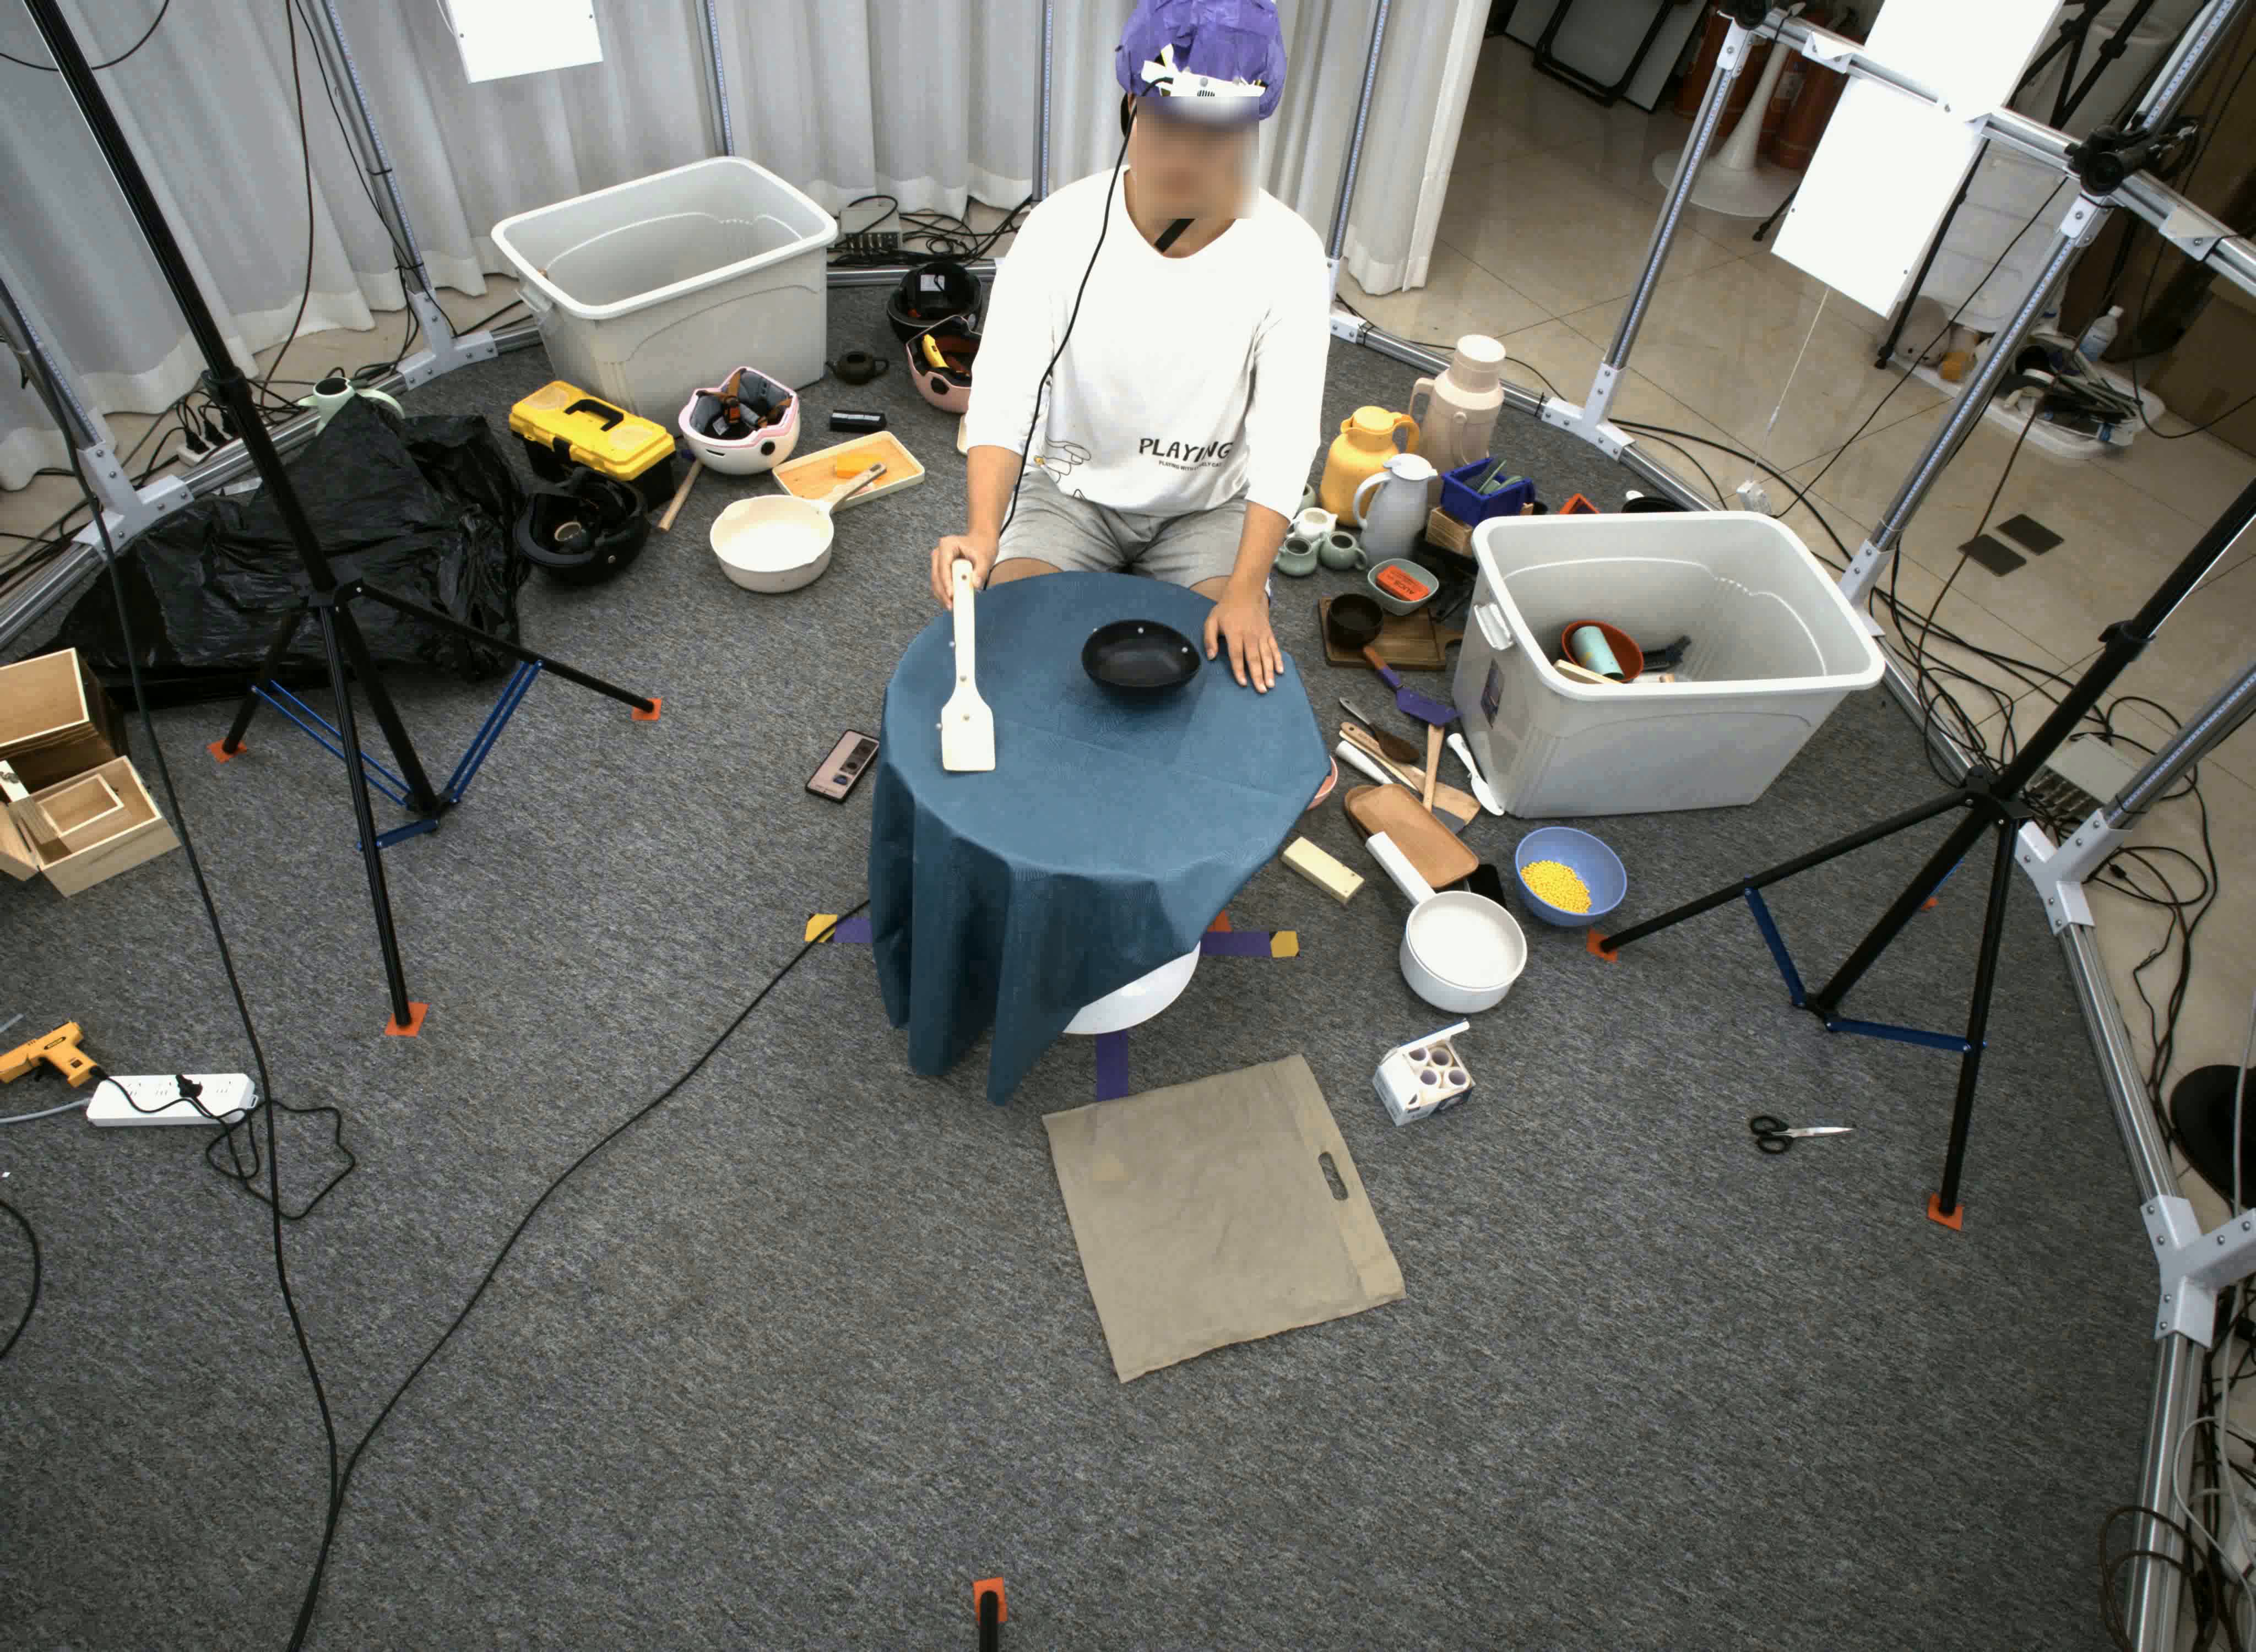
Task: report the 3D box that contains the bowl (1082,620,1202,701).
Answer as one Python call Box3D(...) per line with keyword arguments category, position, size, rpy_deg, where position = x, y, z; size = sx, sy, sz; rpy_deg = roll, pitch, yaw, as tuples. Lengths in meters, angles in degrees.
Box3D(category="bowl", position=(0.018, -0.225, 1.820), size=(0.170, 0.065, 0.141), rpy_deg=(-3, 49, -10))

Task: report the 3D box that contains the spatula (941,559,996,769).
Box3D(category="spatula", position=(-0.218, -0.220, 1.737), size=(0.072, 0.010, 0.296), rpy_deg=(1, 78, -16))
